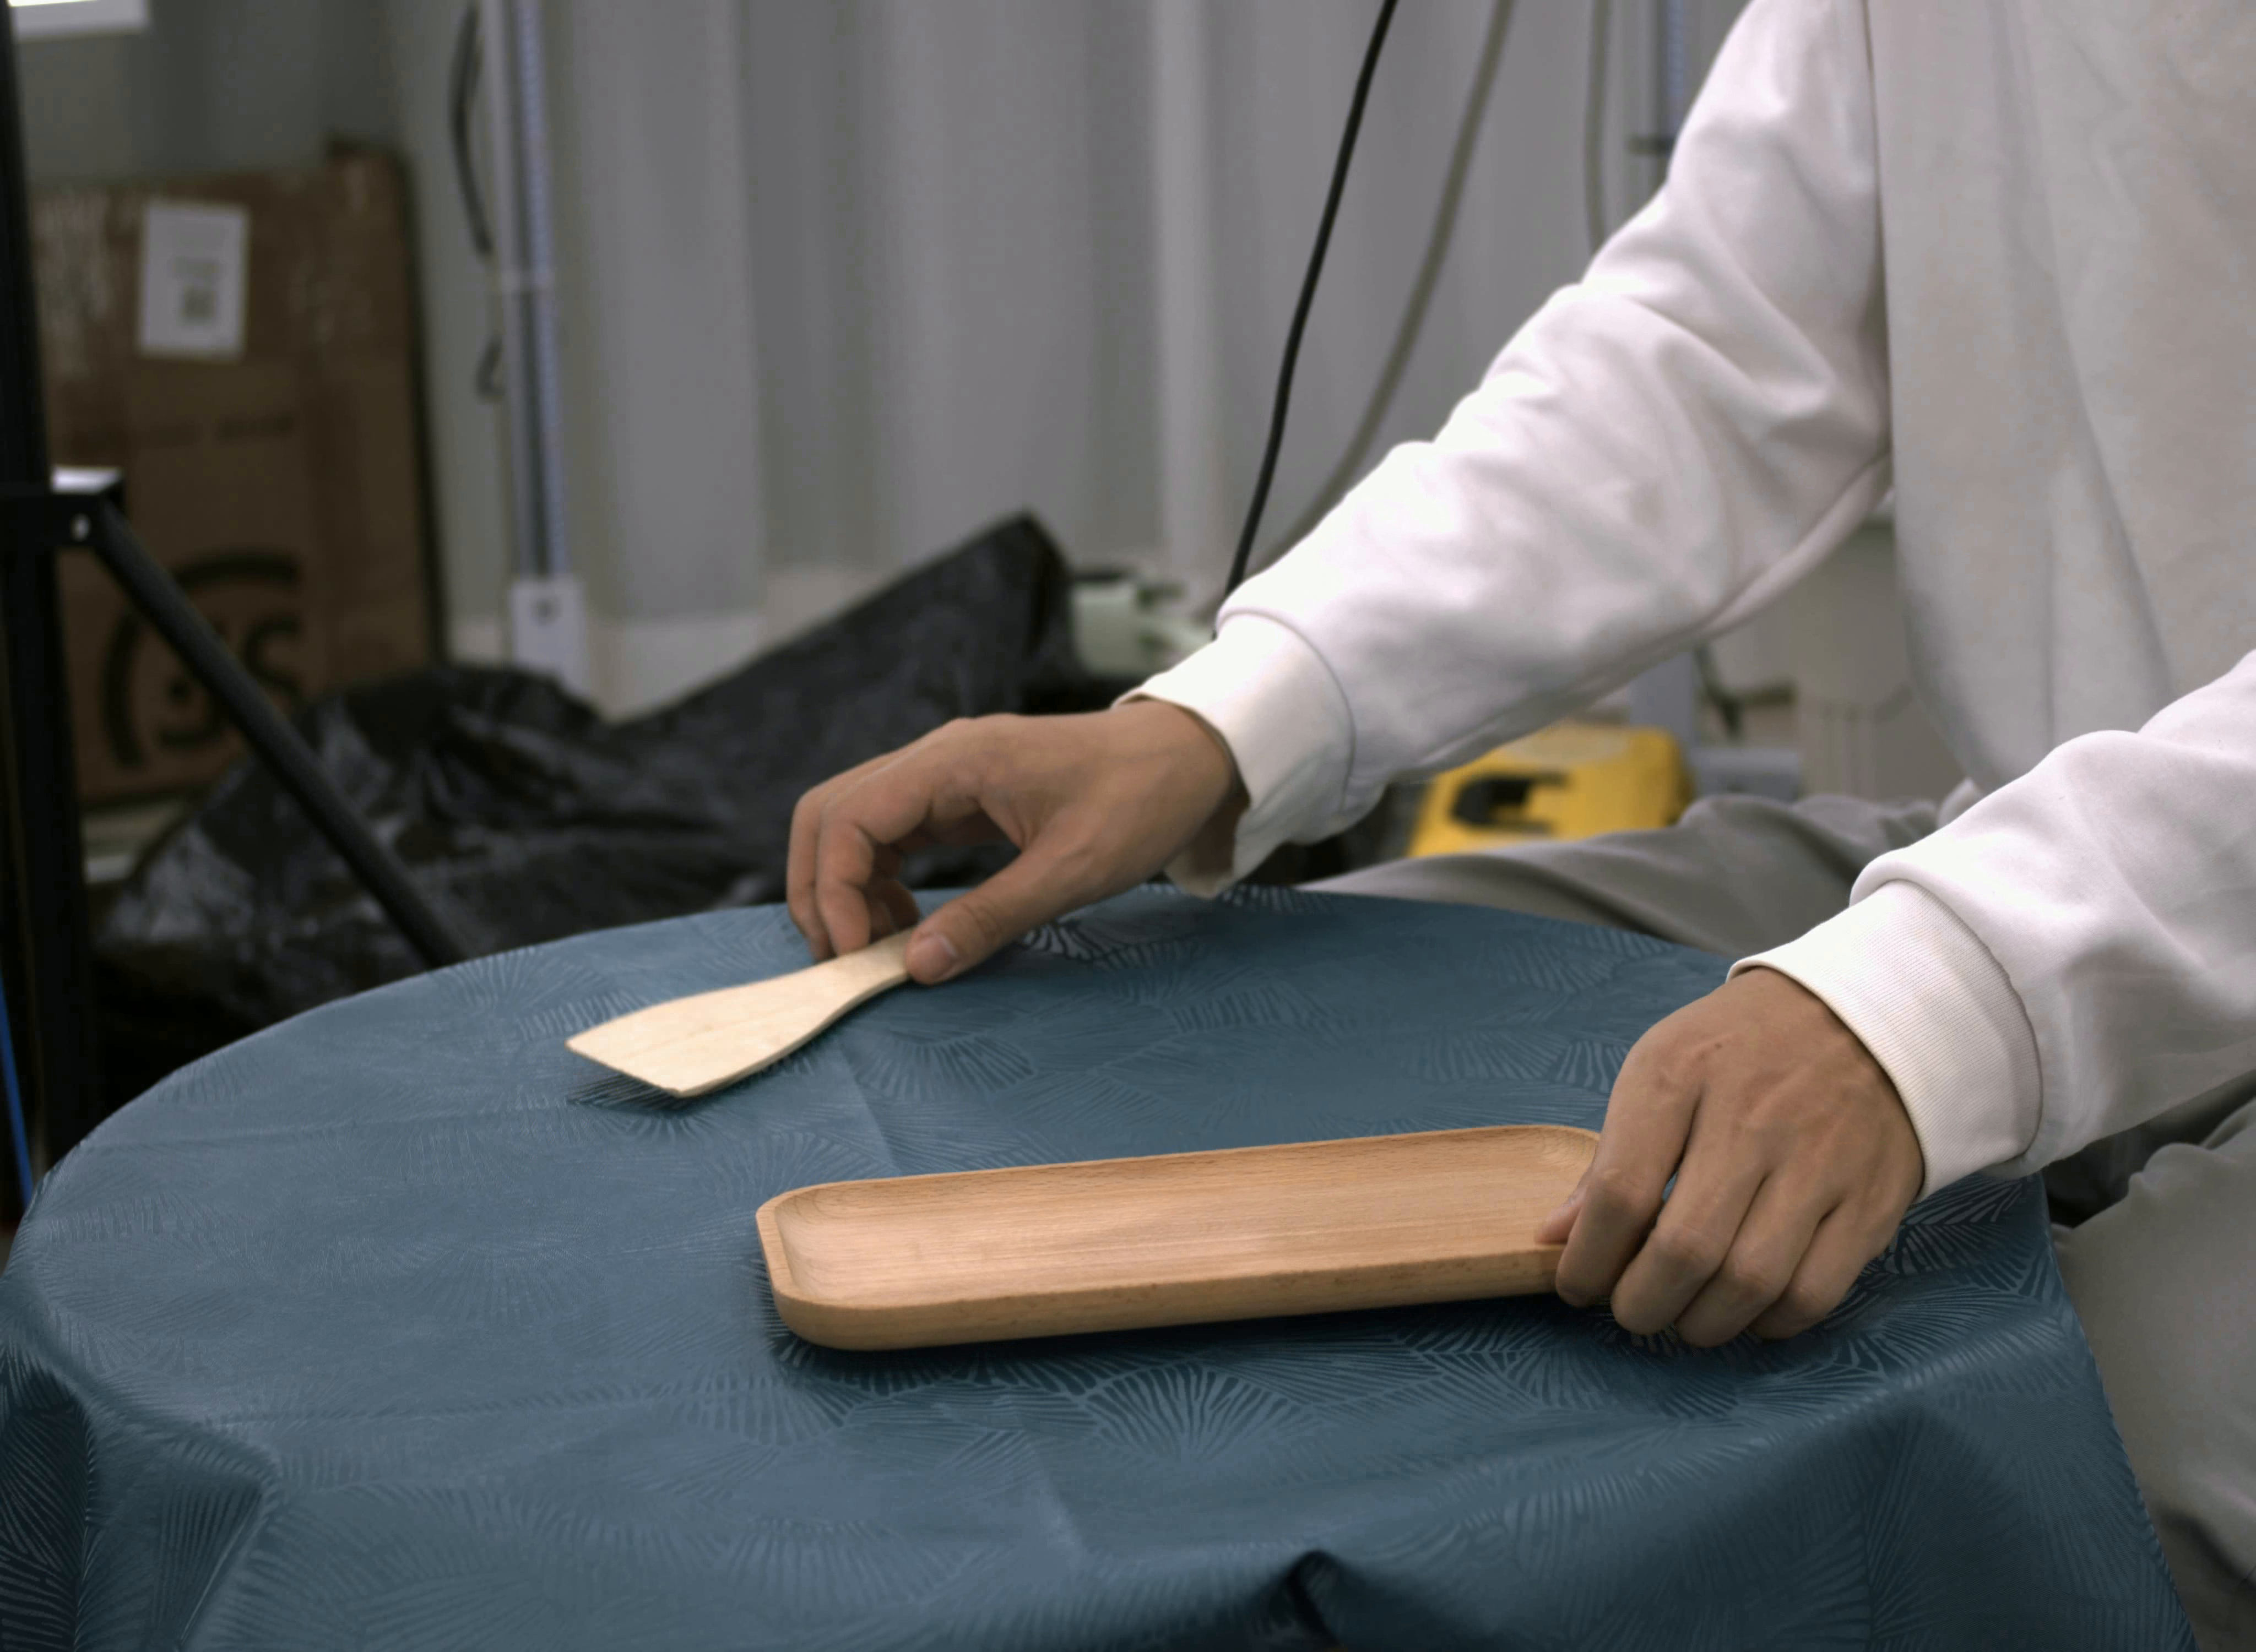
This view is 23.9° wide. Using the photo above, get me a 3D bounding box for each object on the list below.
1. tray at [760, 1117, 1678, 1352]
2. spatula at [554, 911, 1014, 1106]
[{"bbox_3d":[0.024,0.114,1.488,0.248,0.023,0.131,-4,15,-5],"label":"tray"},{"bbox_3d":[-0.103,0.056,1.733,0.051,0.005,0.203,20,25,31],"label":"spatula"}]
